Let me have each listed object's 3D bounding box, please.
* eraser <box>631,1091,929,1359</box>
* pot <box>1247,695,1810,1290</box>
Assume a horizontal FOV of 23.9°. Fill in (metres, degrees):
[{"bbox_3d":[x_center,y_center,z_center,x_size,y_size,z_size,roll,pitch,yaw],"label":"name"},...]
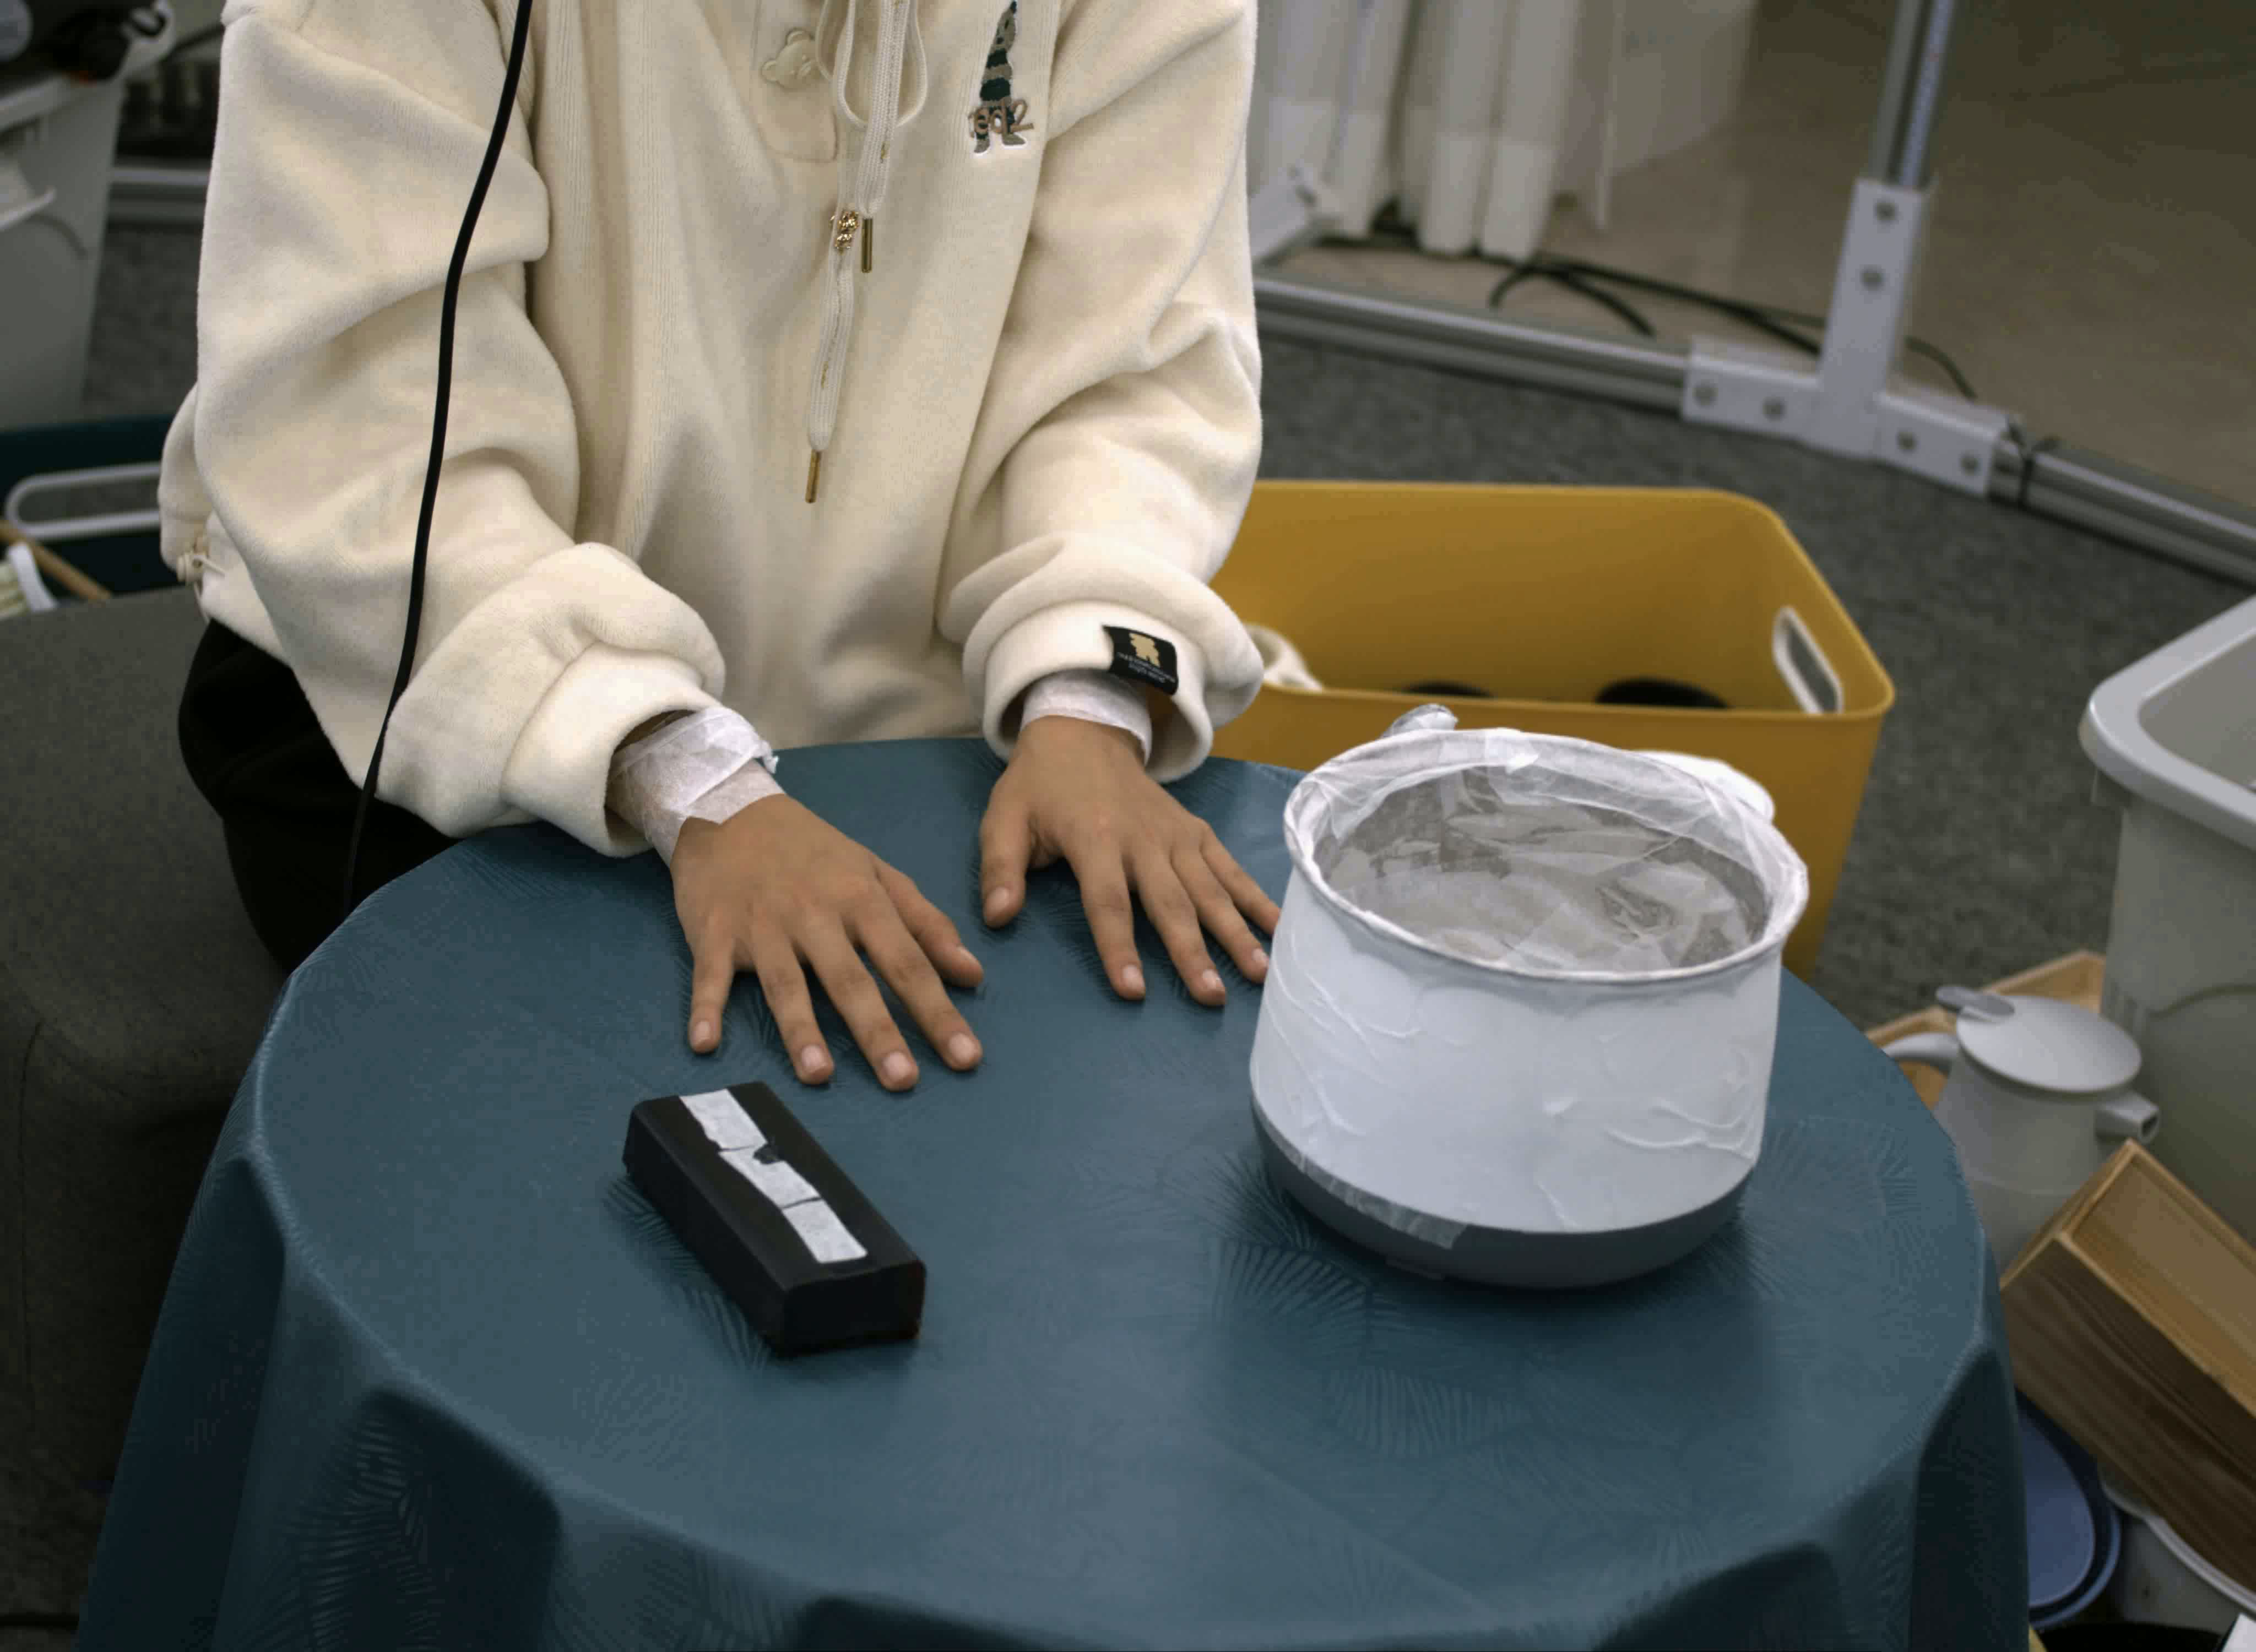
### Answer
[{"bbox_3d":[-0.115,0.129,1.736,0.053,0.030,0.126,-8,29,-27],"label":"eraser"},{"bbox_3d":[0.122,0.049,1.821,0.177,0.136,0.236,-4,30,-21],"label":"pot"}]
